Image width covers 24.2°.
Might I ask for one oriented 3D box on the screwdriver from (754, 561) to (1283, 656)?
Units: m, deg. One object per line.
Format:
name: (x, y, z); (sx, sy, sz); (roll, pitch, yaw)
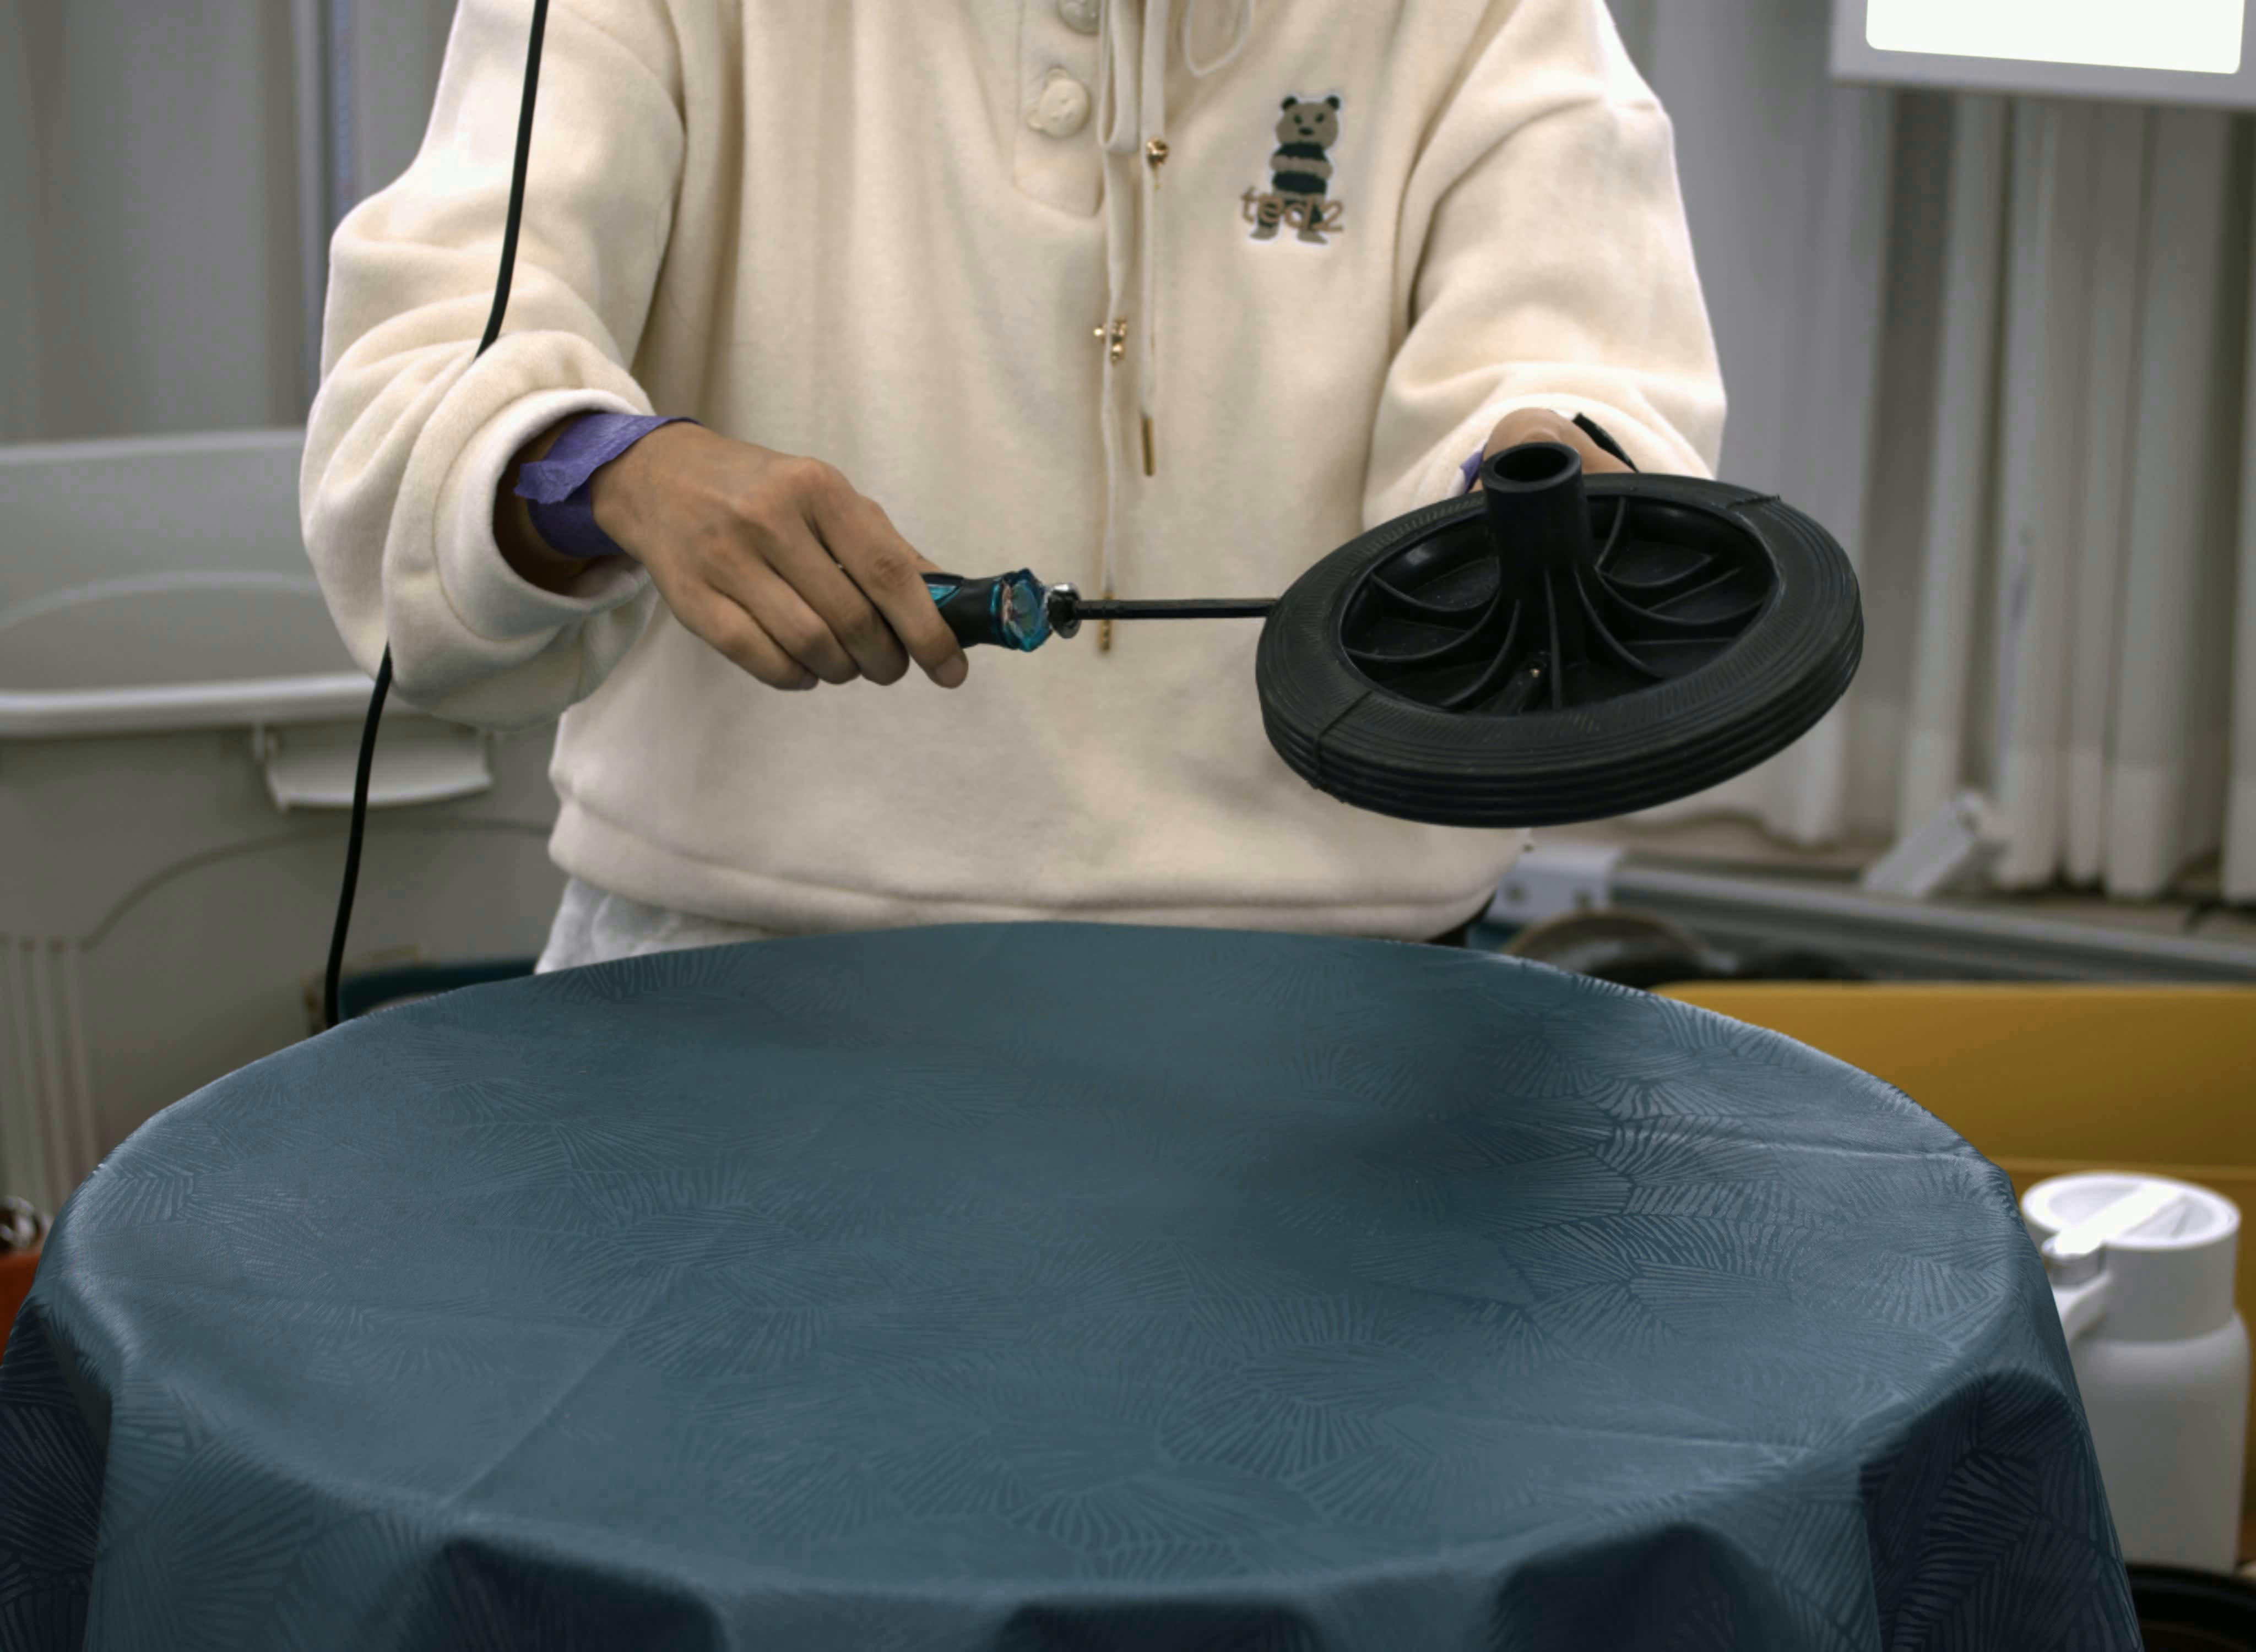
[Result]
screwdriver: (-0.035, -0.069, 1.685); (0.188, 0.034, 0.034); (2, 15, 27)

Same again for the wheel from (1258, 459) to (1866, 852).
wheel: (0.130, -0.070, 1.613); (0.186, 0.080, 0.188); (-8, 33, 4)
